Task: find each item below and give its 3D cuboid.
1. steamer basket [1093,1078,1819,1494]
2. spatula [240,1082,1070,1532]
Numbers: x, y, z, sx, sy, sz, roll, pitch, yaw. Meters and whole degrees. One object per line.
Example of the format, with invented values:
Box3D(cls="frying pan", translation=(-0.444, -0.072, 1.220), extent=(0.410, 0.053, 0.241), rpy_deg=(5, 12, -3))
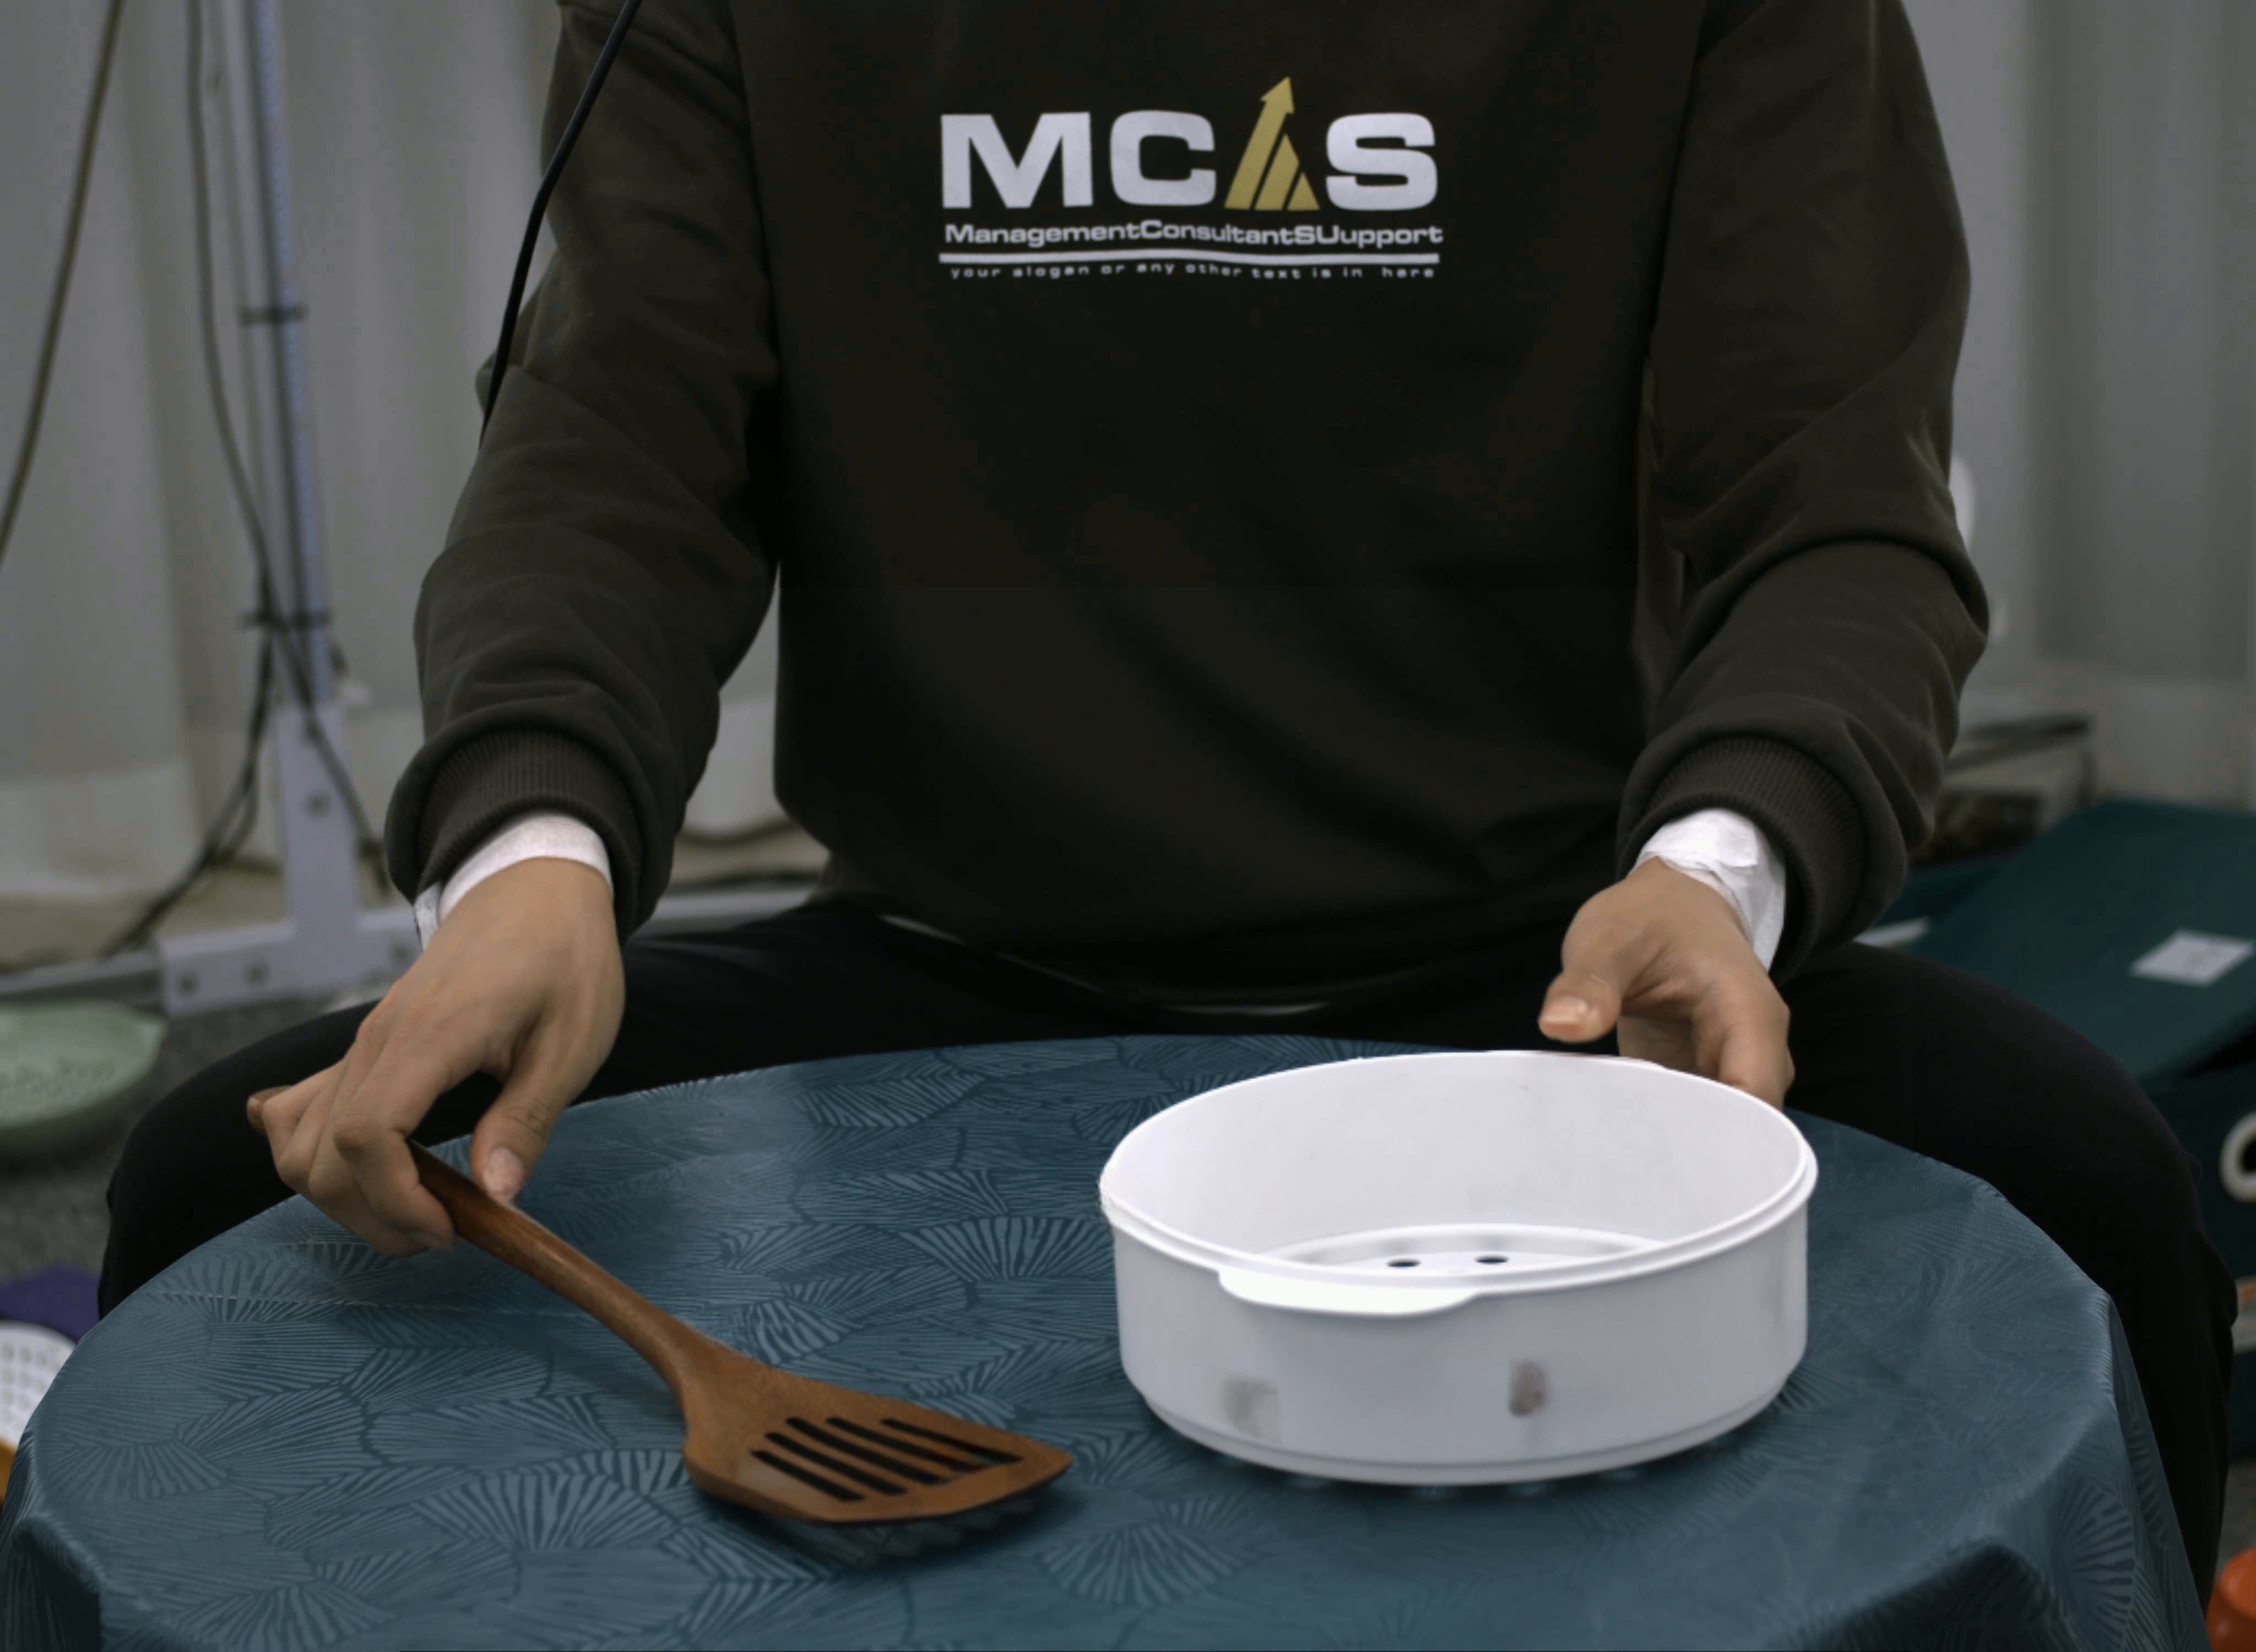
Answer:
Box3D(cls="steamer basket", translation=(0.091, 0.128, 1.529), extent=(0.202, 0.069, 0.231), rpy_deg=(5, 13, 21))
Box3D(cls="spatula", translation=(-0.159, 0.137, 1.583), extent=(0.085, 0.023, 0.388), rpy_deg=(-10, 21, -36))
